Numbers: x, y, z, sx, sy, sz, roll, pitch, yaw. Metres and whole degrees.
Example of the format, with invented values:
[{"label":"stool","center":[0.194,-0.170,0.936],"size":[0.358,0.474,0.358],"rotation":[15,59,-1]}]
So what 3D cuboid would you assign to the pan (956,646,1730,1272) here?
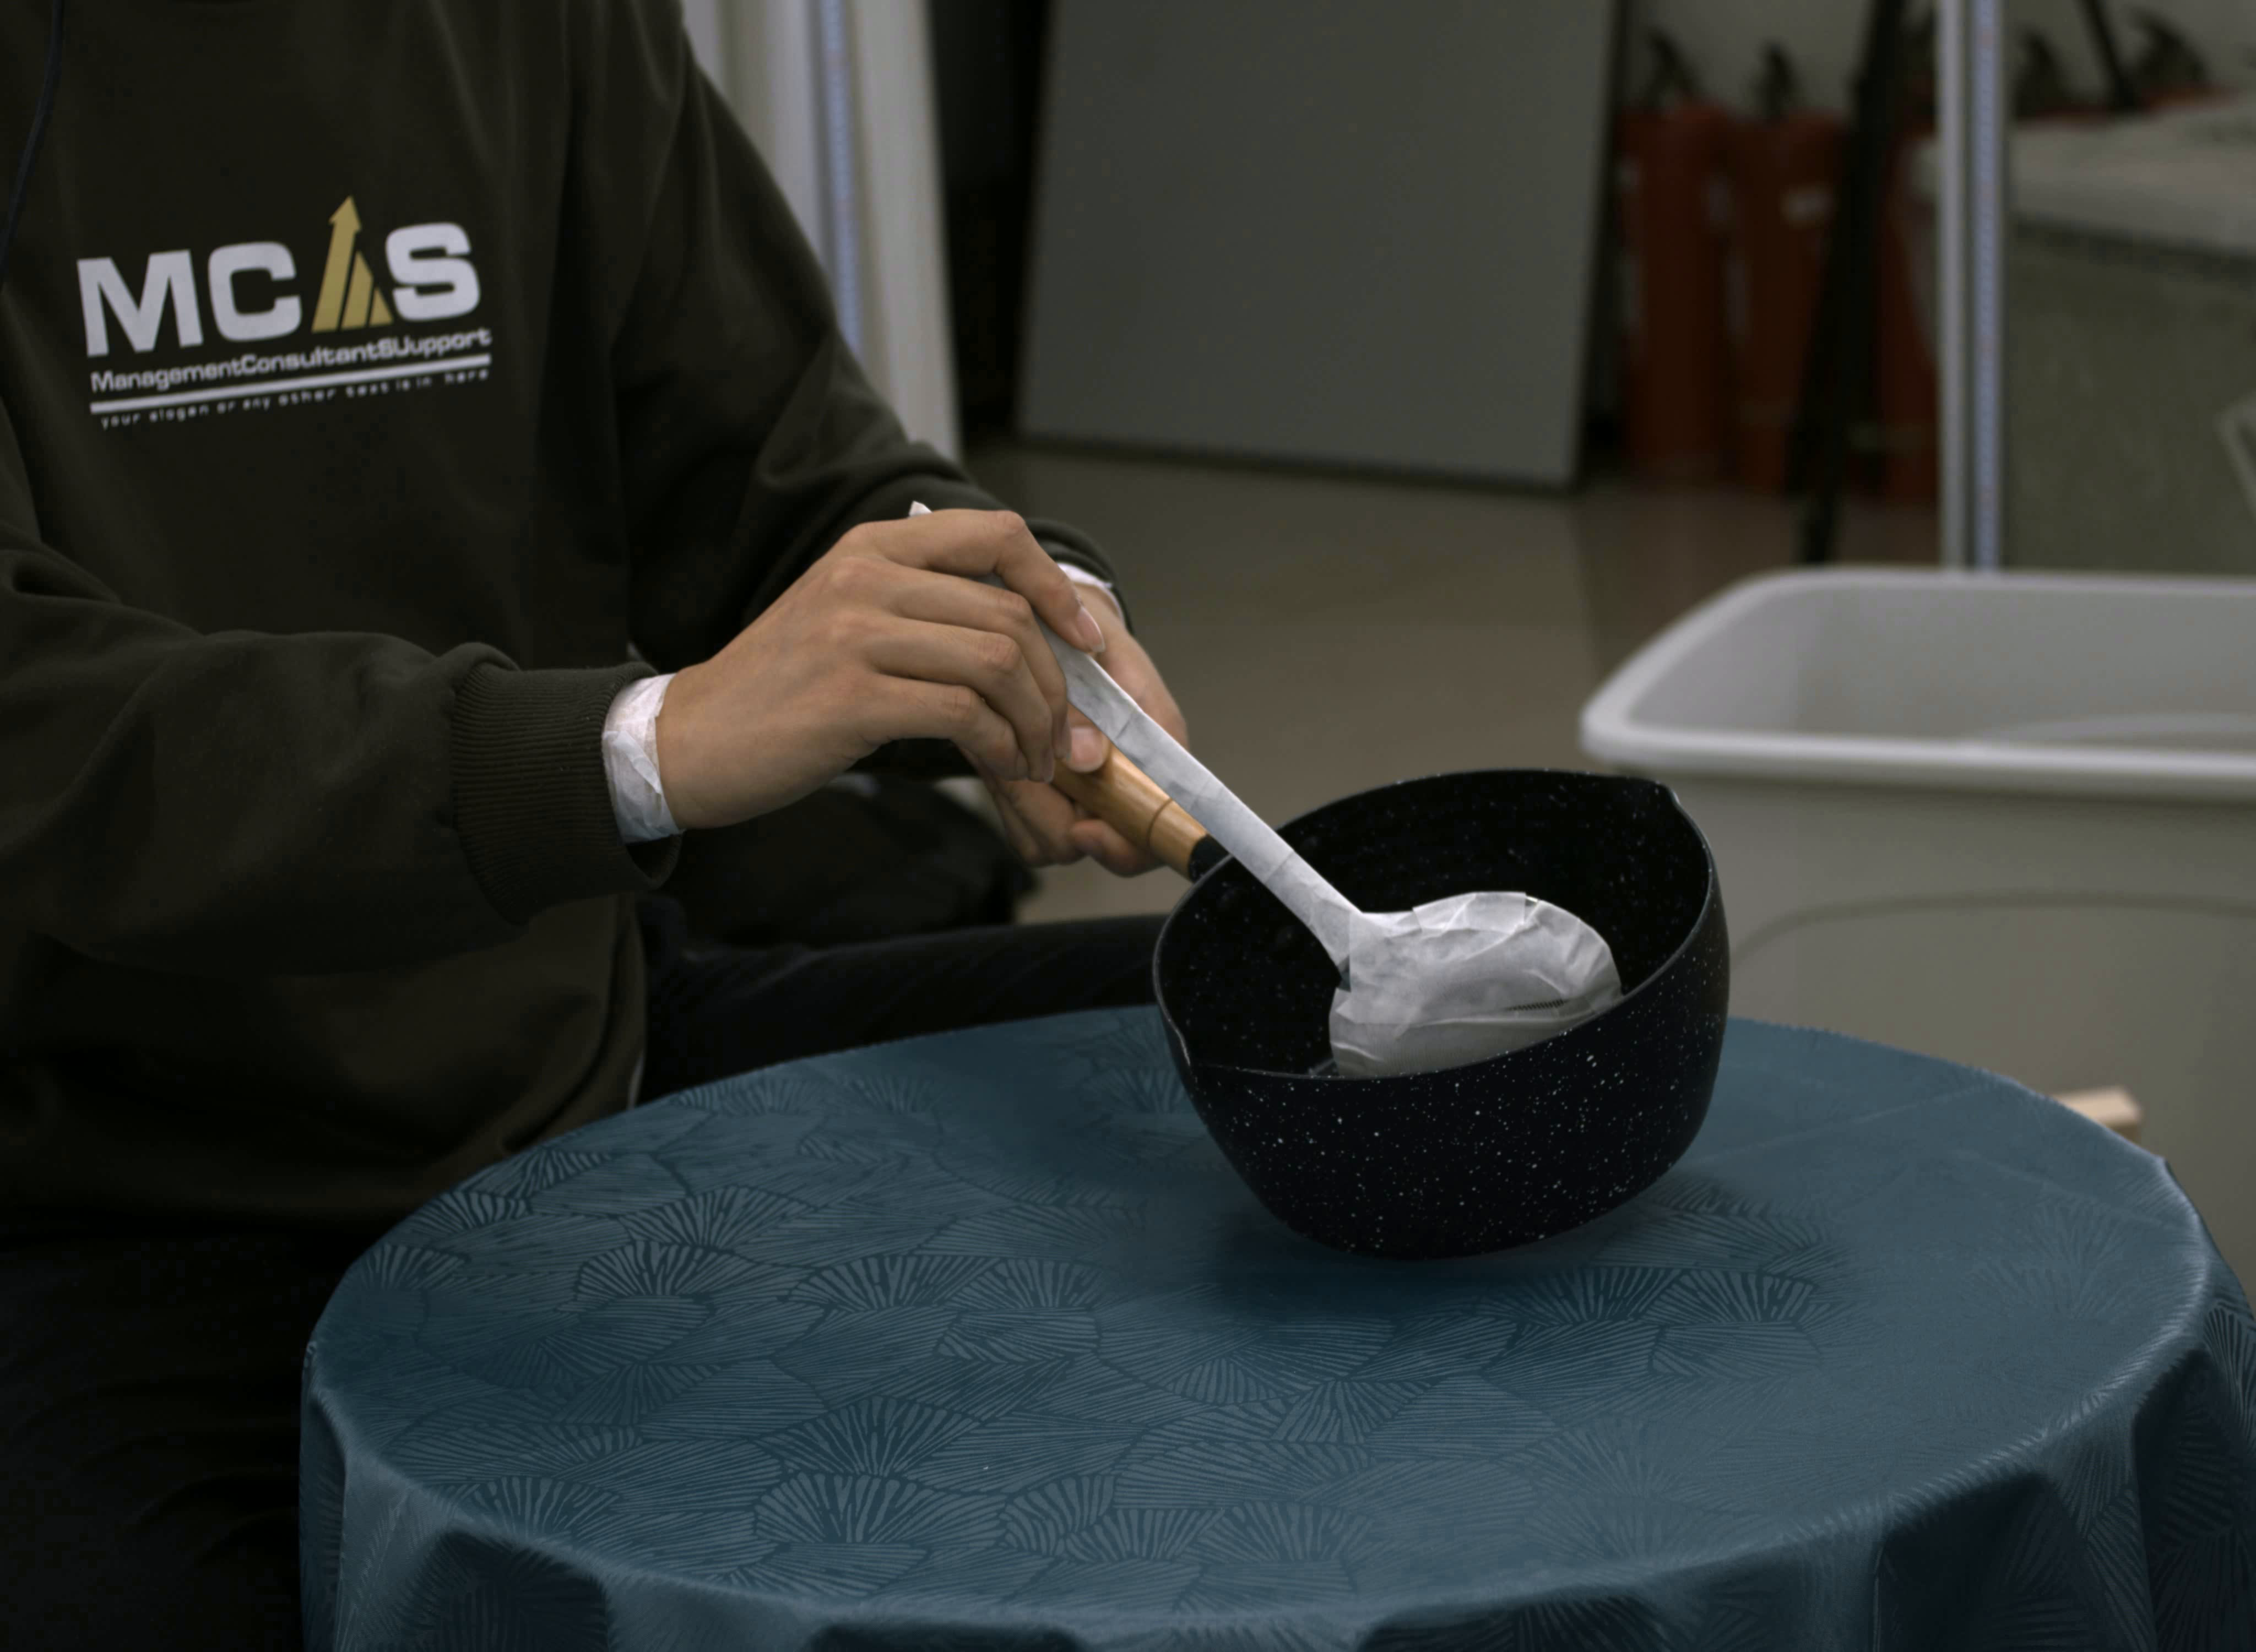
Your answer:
[{"label":"pan","center":[0.055,0.033,1.778],"size":[0.204,0.108,0.346],"rotation":[-32,33,-26]}]

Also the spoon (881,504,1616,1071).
[{"label":"spoon","center":[0.032,-0.008,1.692],"size":[0.278,0.101,0.059],"rotation":[42,21,11]}]
